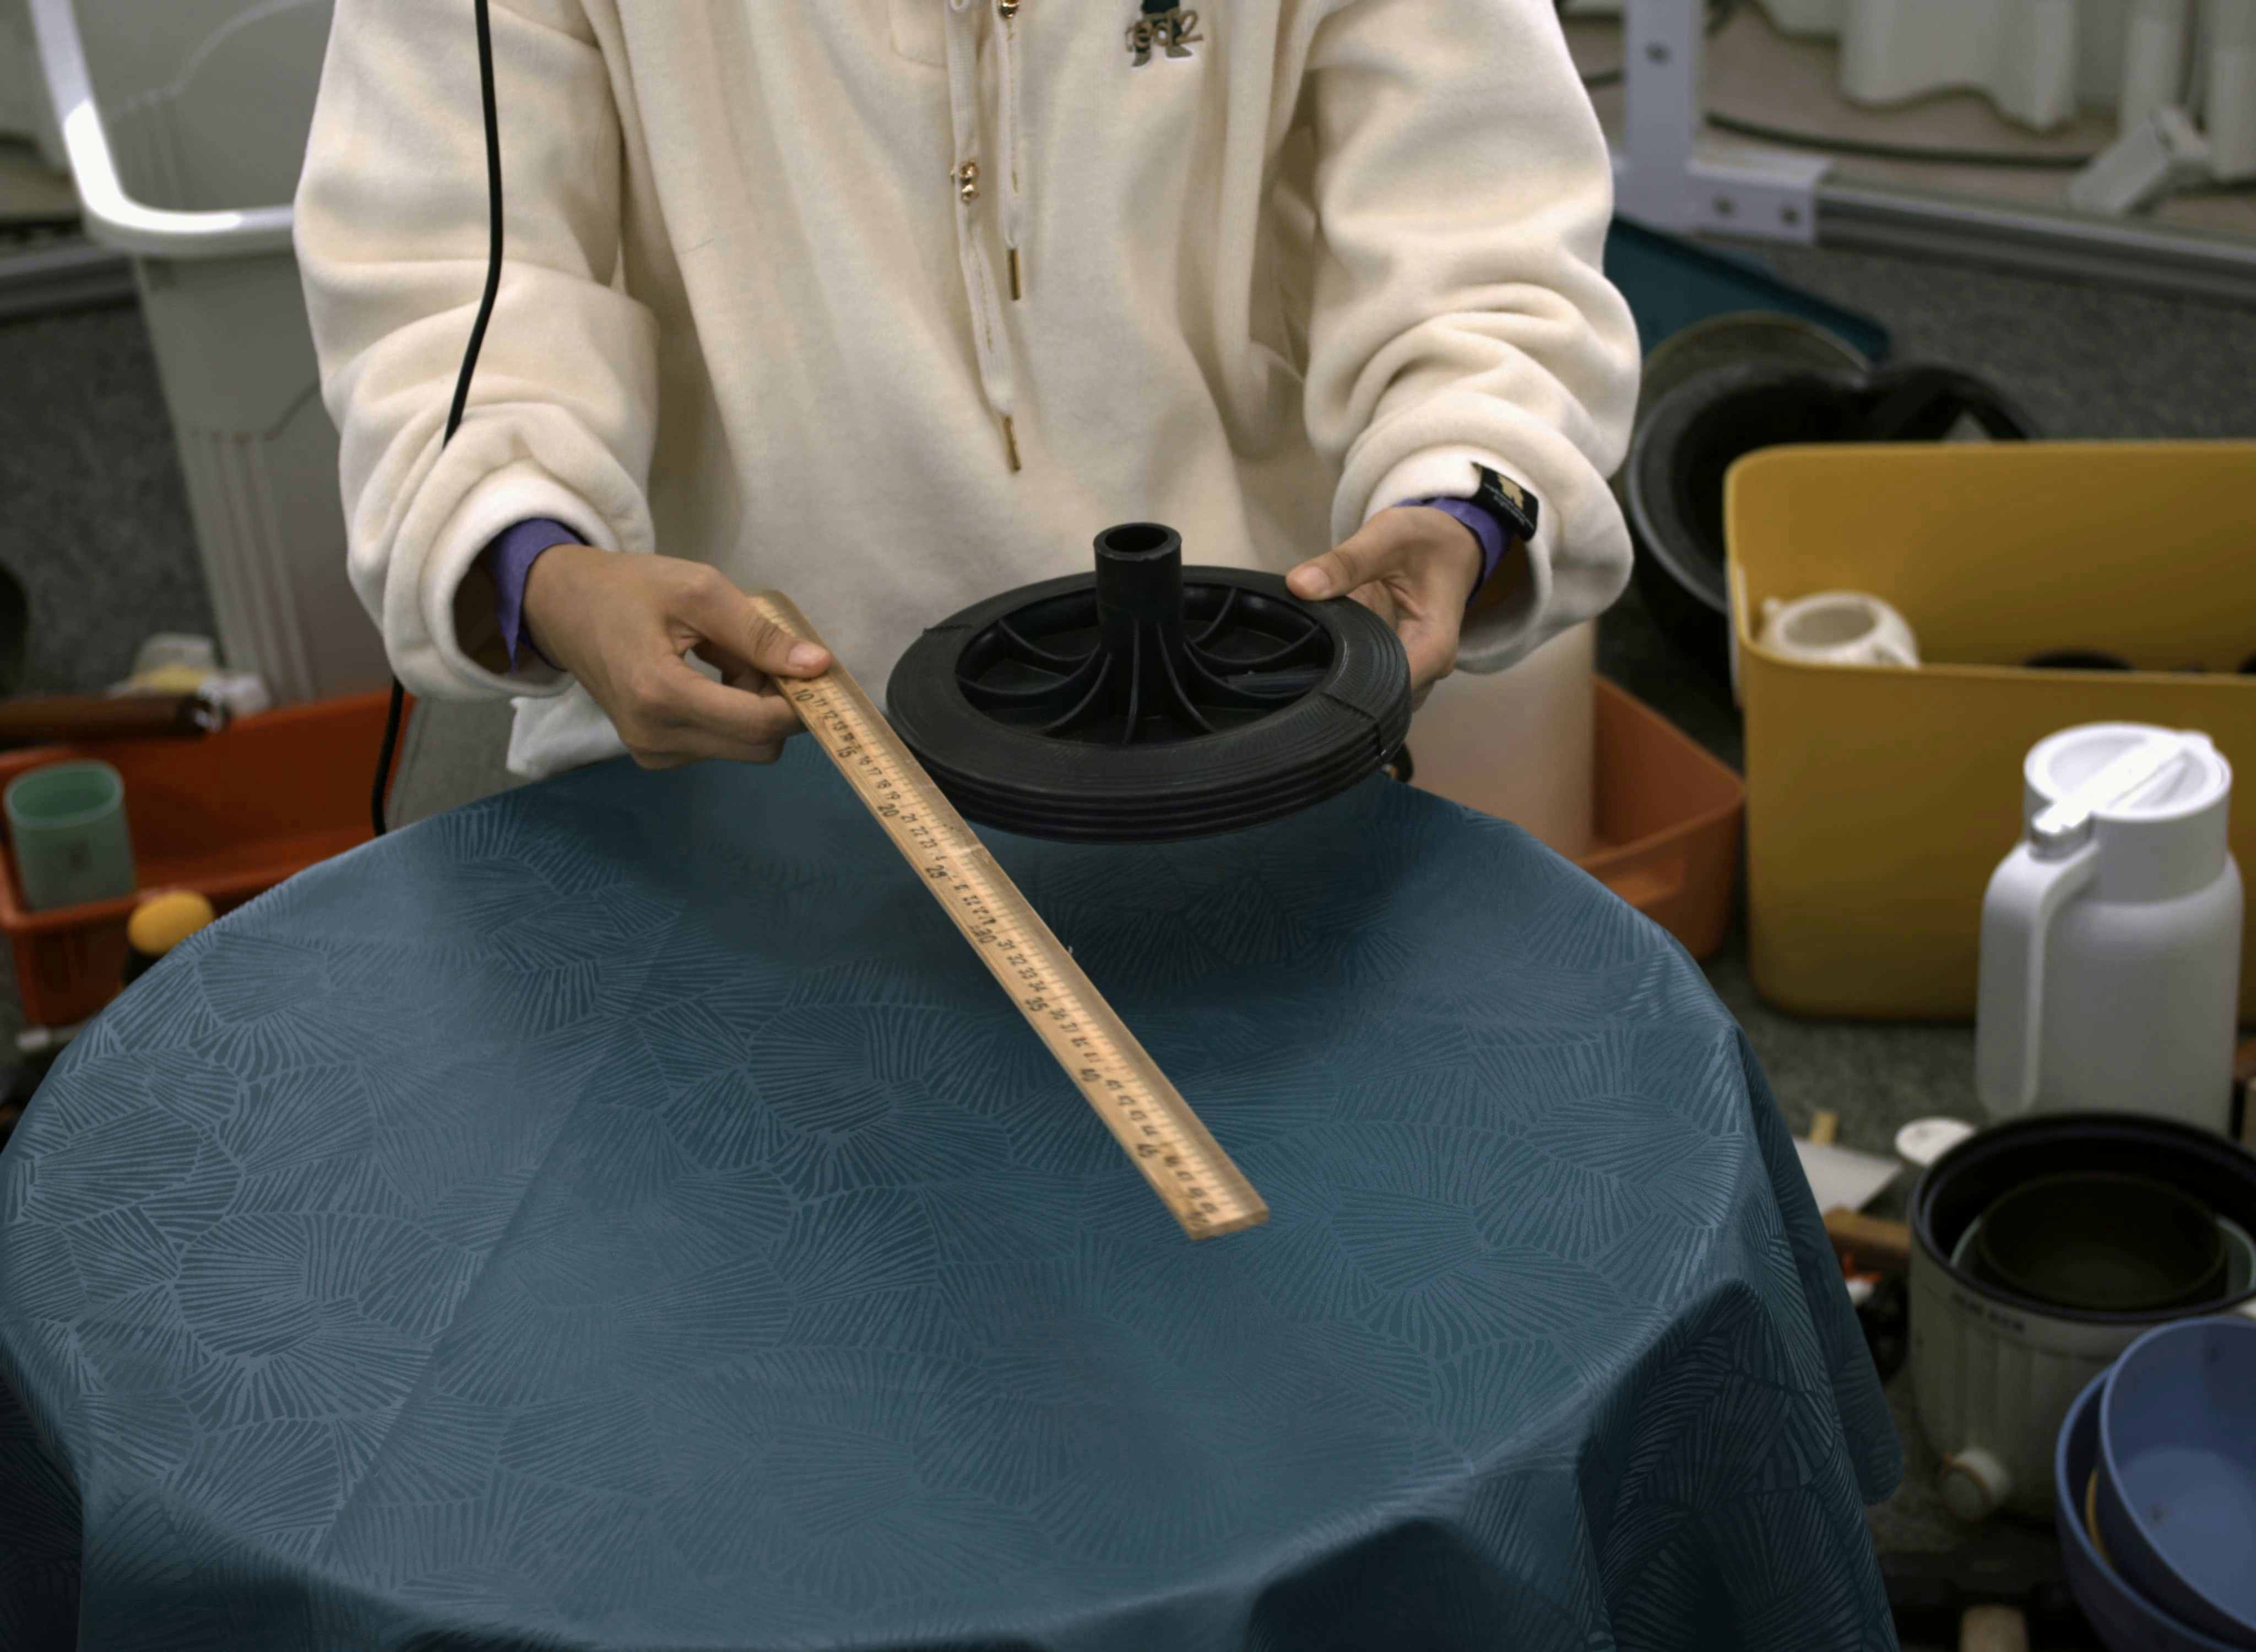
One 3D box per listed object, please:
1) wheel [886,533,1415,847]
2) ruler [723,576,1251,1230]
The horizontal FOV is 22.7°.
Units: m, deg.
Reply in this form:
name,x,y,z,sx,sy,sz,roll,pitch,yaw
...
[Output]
name,x,y,z,sx,sy,sz,roll,pitch,yaw
wheel,0.007,-0.062,1.993,0.190,0.078,0.188,-14,28,-20
ruler,-0.058,0.014,1.878,0.027,0.006,0.504,-15,28,-14
